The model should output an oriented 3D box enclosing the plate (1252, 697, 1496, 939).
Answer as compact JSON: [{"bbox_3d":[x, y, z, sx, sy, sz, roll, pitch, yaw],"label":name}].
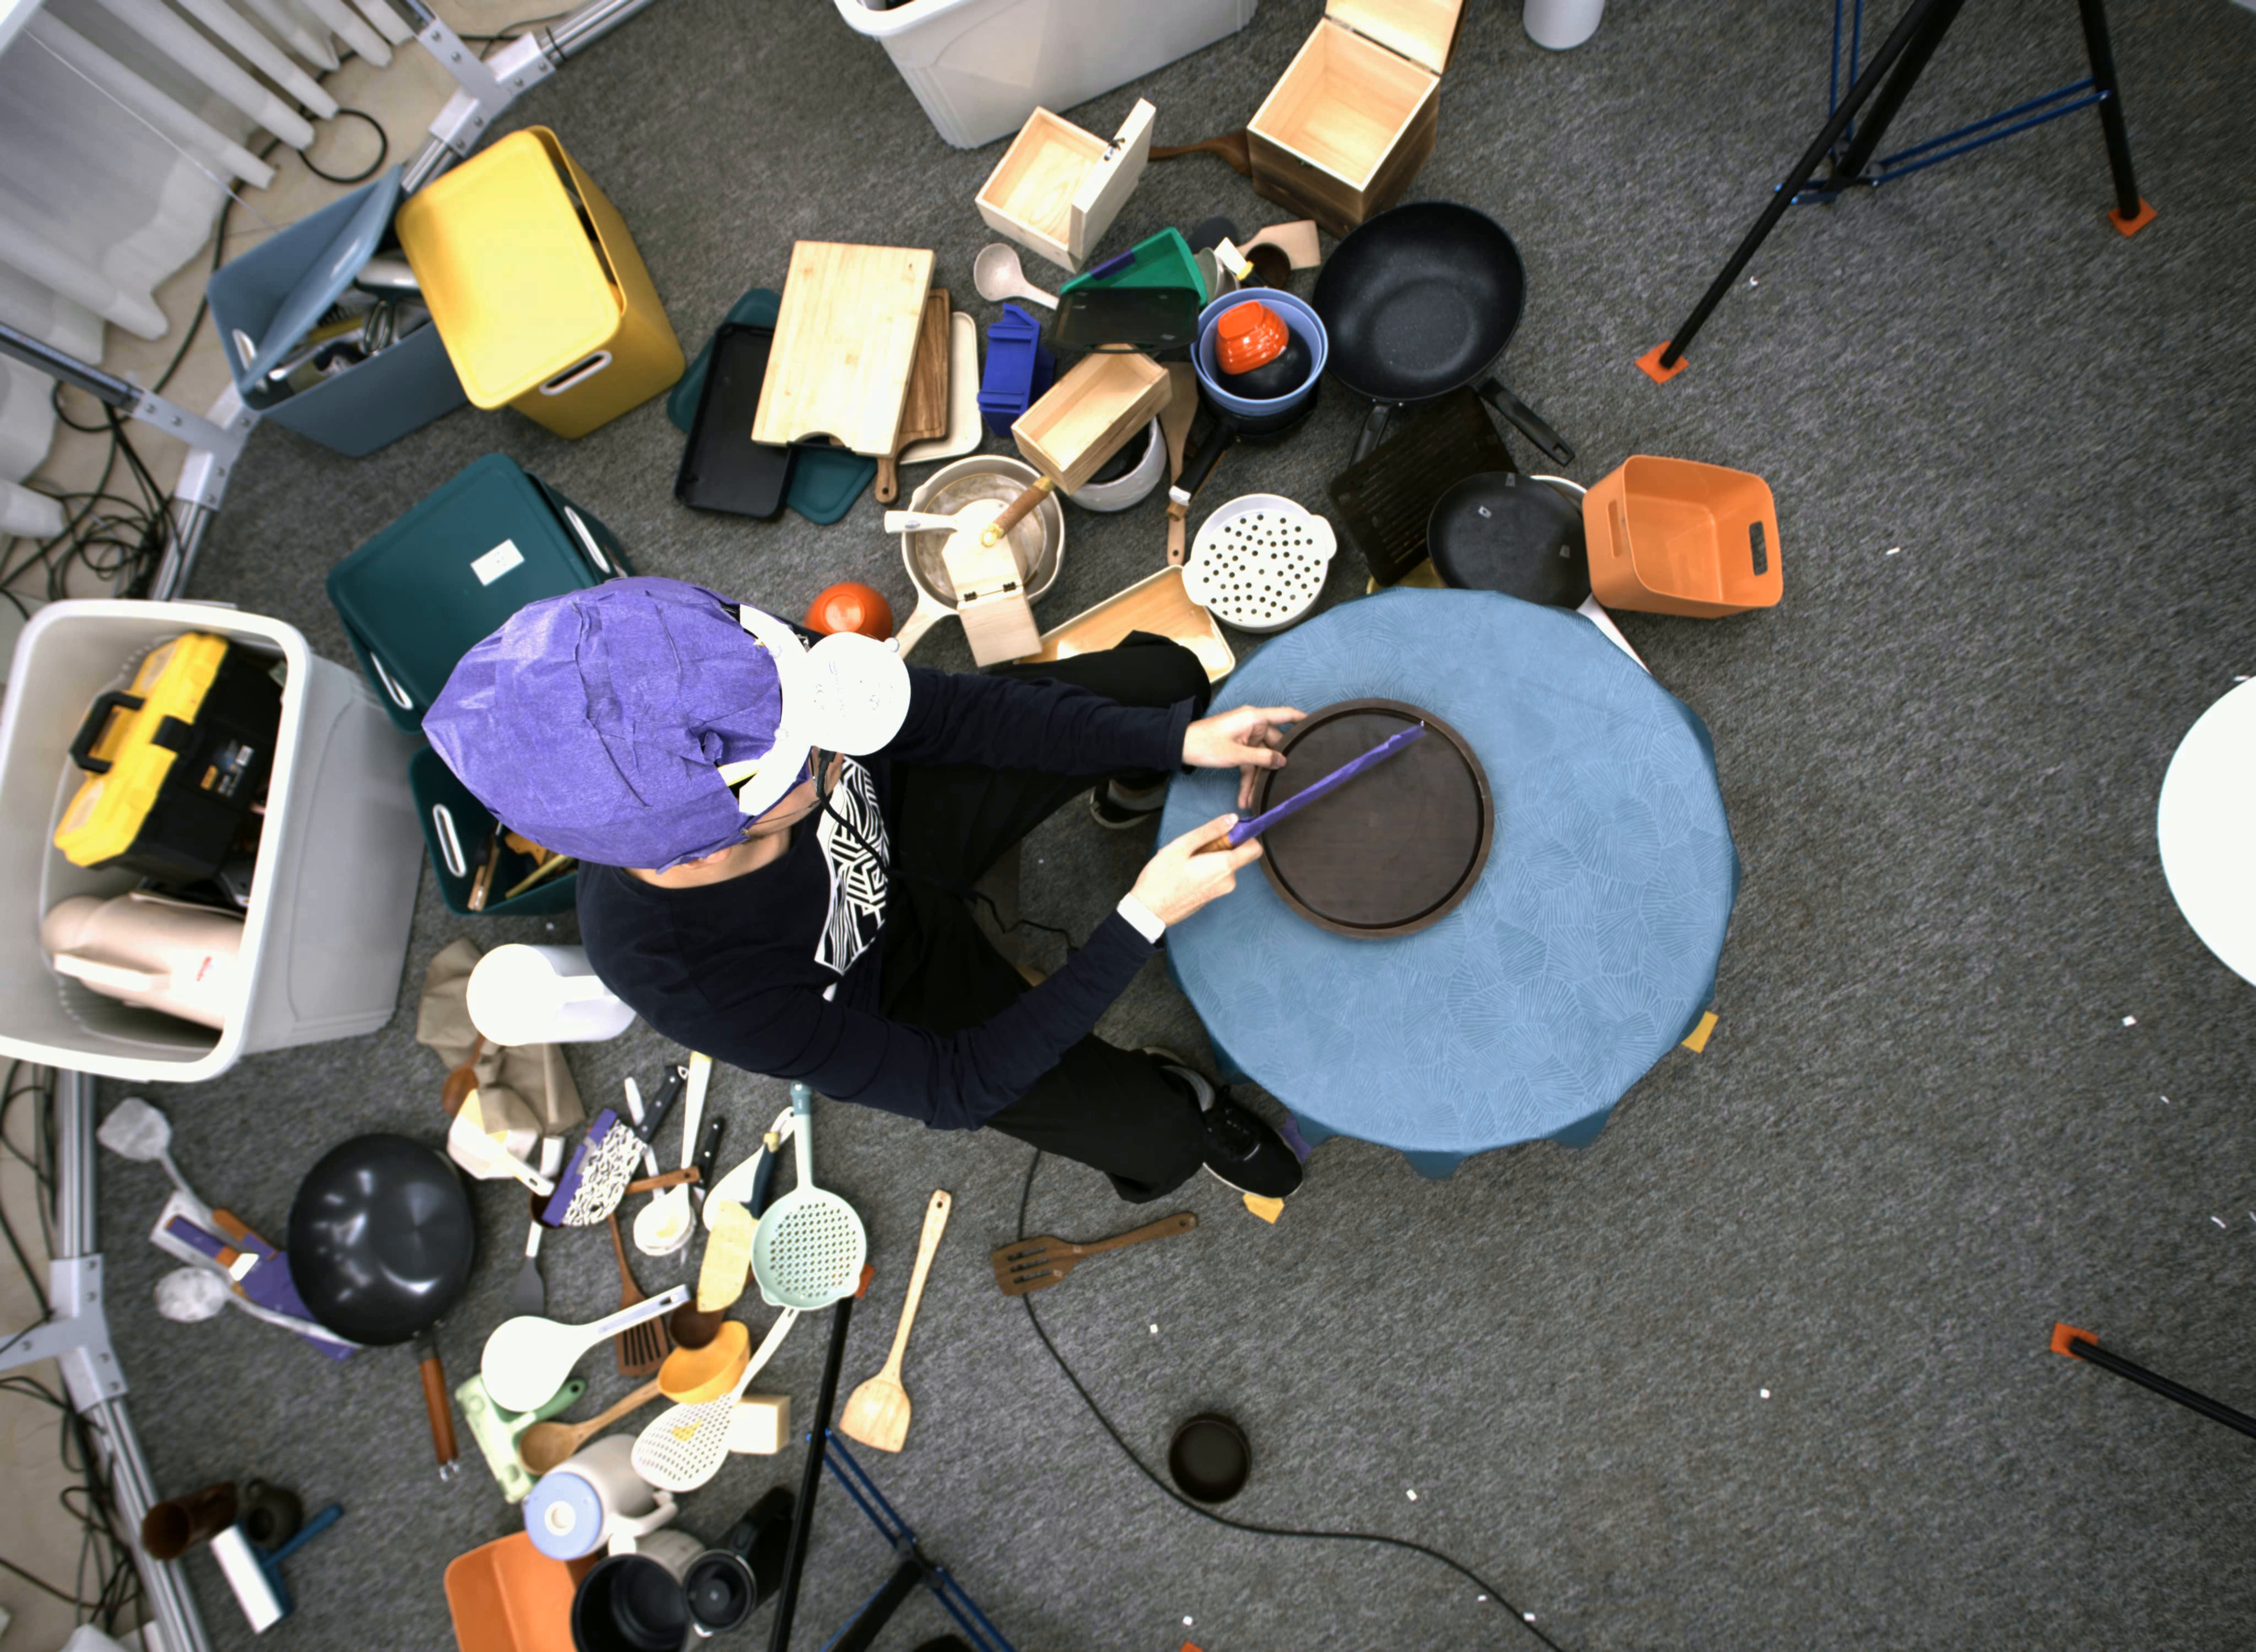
[{"bbox_3d":[0.256,-0.009,1.443,0.255,0.029,0.254,0,91,5],"label":"plate"}]

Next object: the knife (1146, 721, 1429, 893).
[{"bbox_3d":[0.165,-0.018,1.396,0.317,0.104,0.032,-29,79,9],"label":"knife"}]
